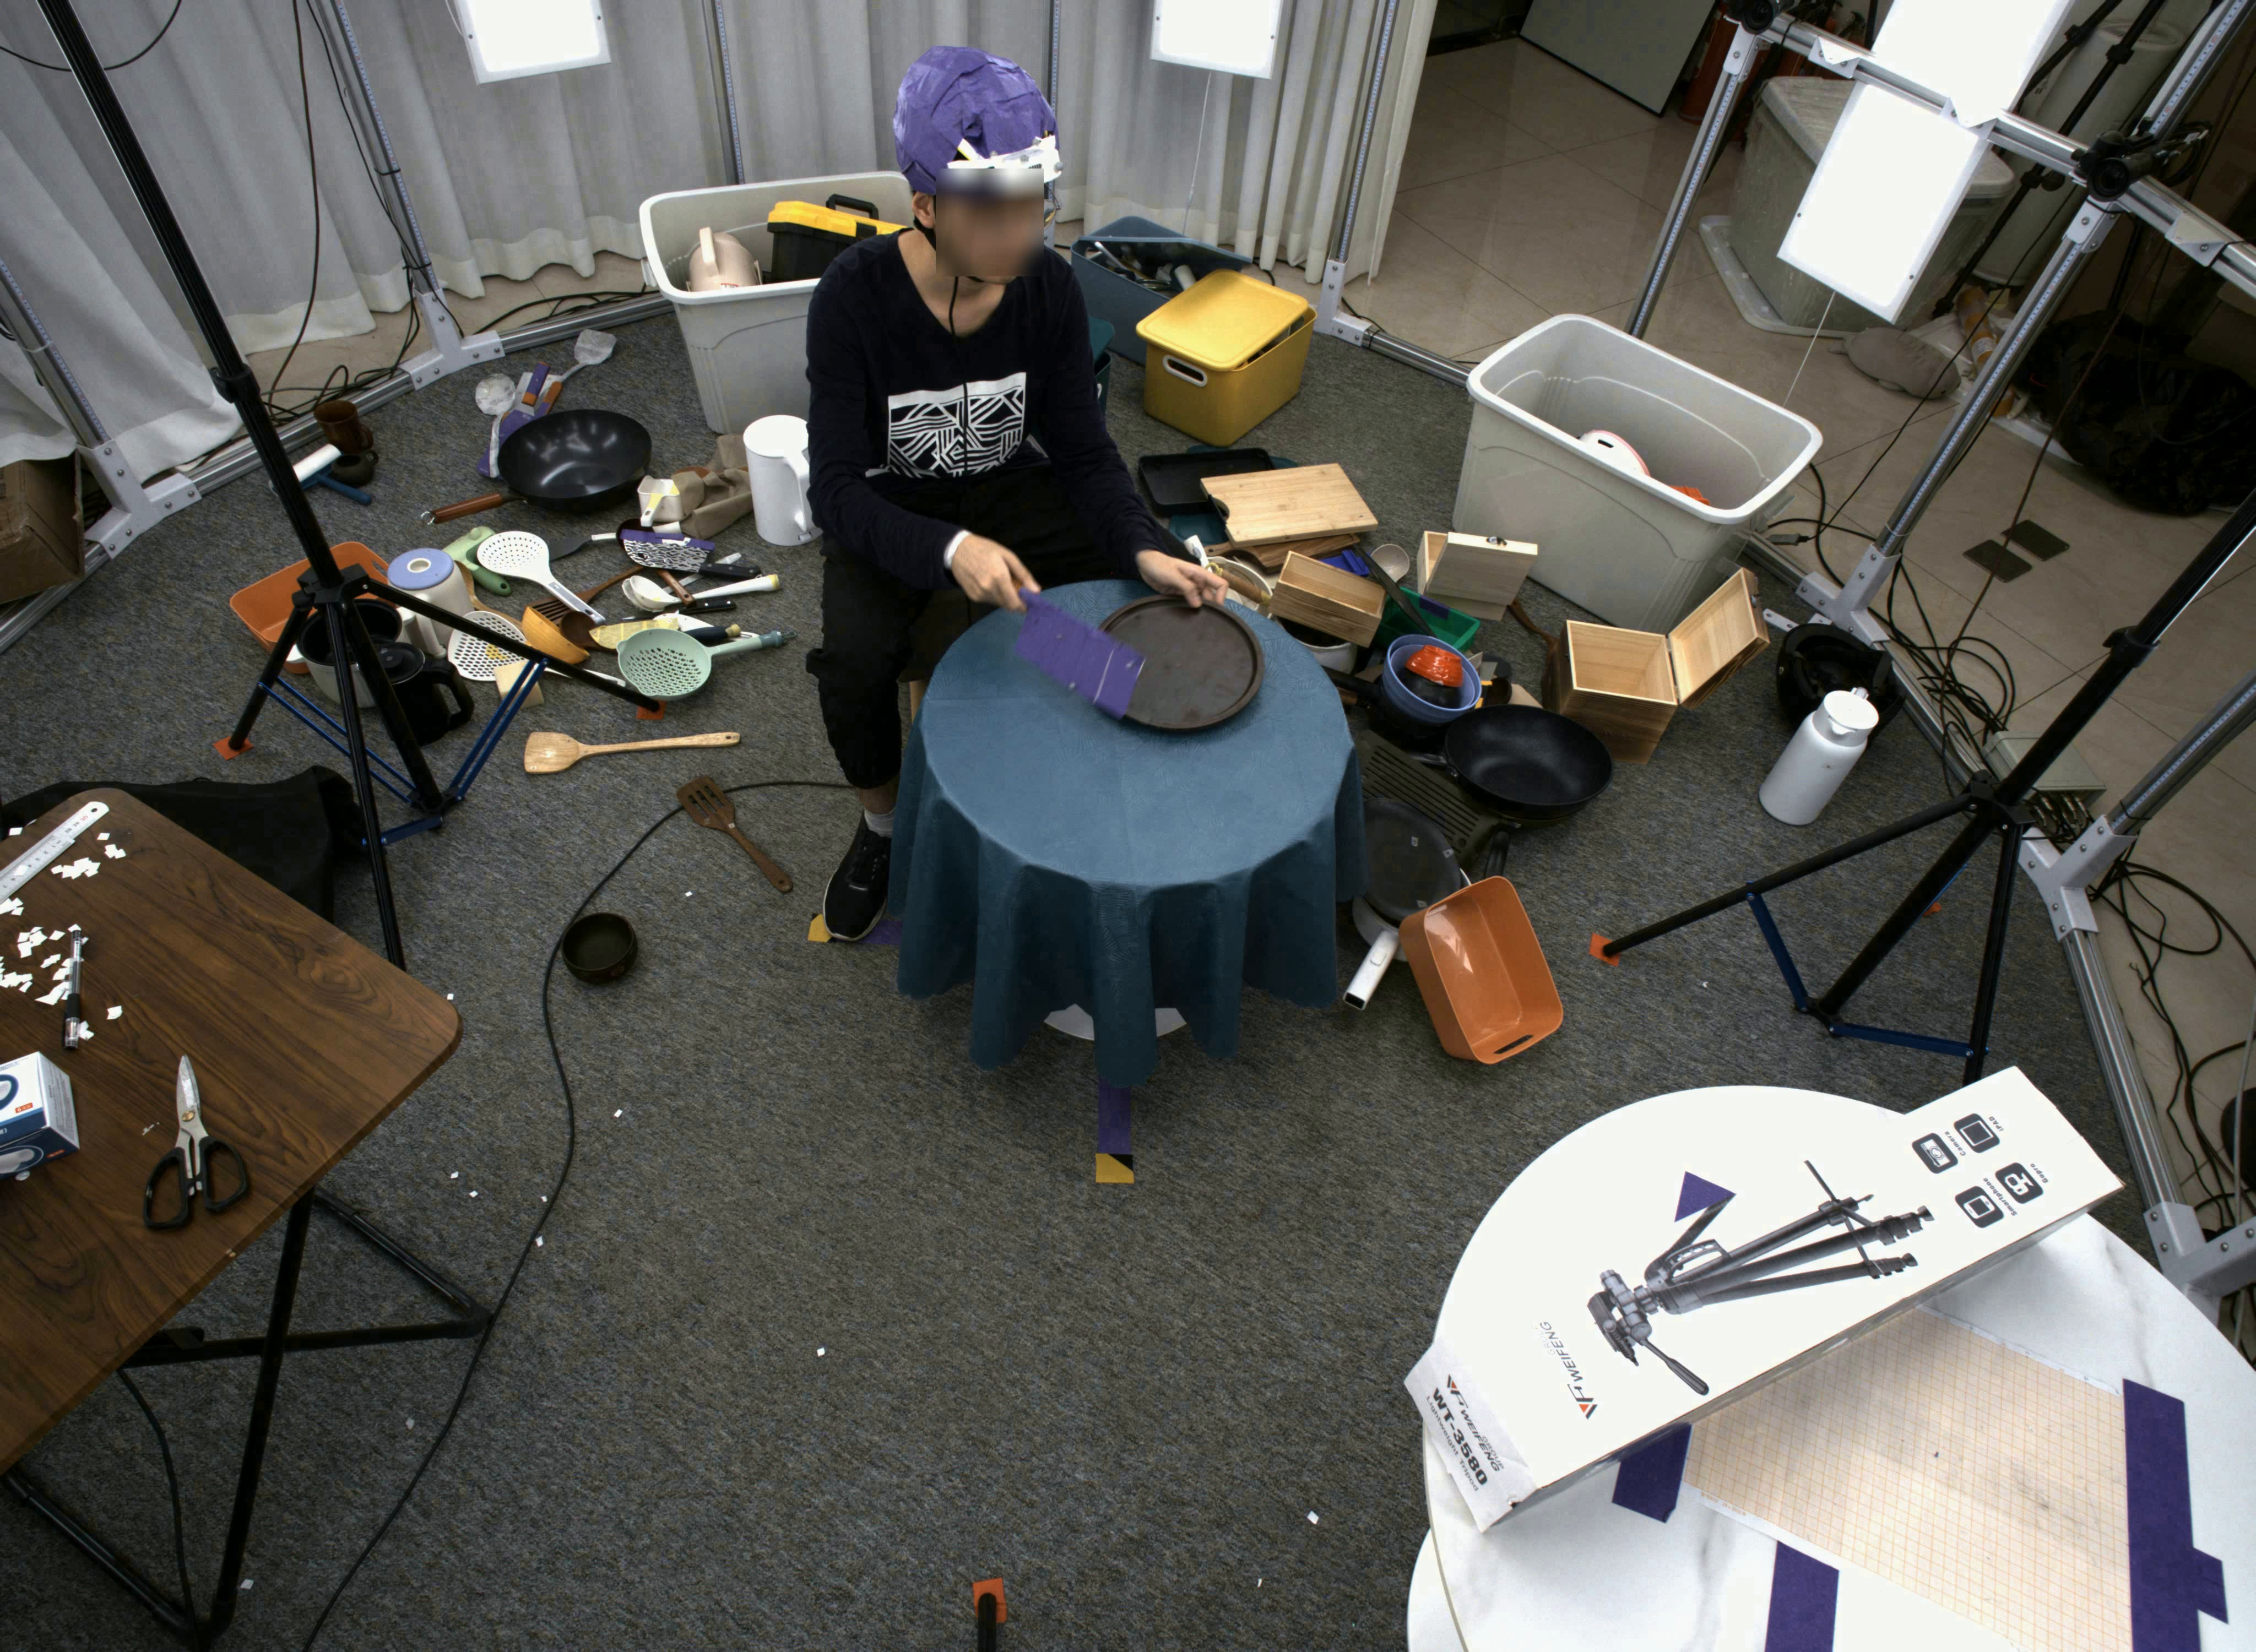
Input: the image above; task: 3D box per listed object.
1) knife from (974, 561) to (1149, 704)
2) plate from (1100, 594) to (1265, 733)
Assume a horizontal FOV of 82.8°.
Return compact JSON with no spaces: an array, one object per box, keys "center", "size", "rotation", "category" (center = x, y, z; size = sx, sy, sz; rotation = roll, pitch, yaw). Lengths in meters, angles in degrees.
[{"center":[-0.105,-0.267,1.780],"size":[0.320,0.102,0.032],"rotation":[33,22,30],"category":"knife"},{"center":[0.070,-0.236,1.845],"size":[0.254,0.028,0.261],"rotation":[1,56,-1],"category":"plate"}]
